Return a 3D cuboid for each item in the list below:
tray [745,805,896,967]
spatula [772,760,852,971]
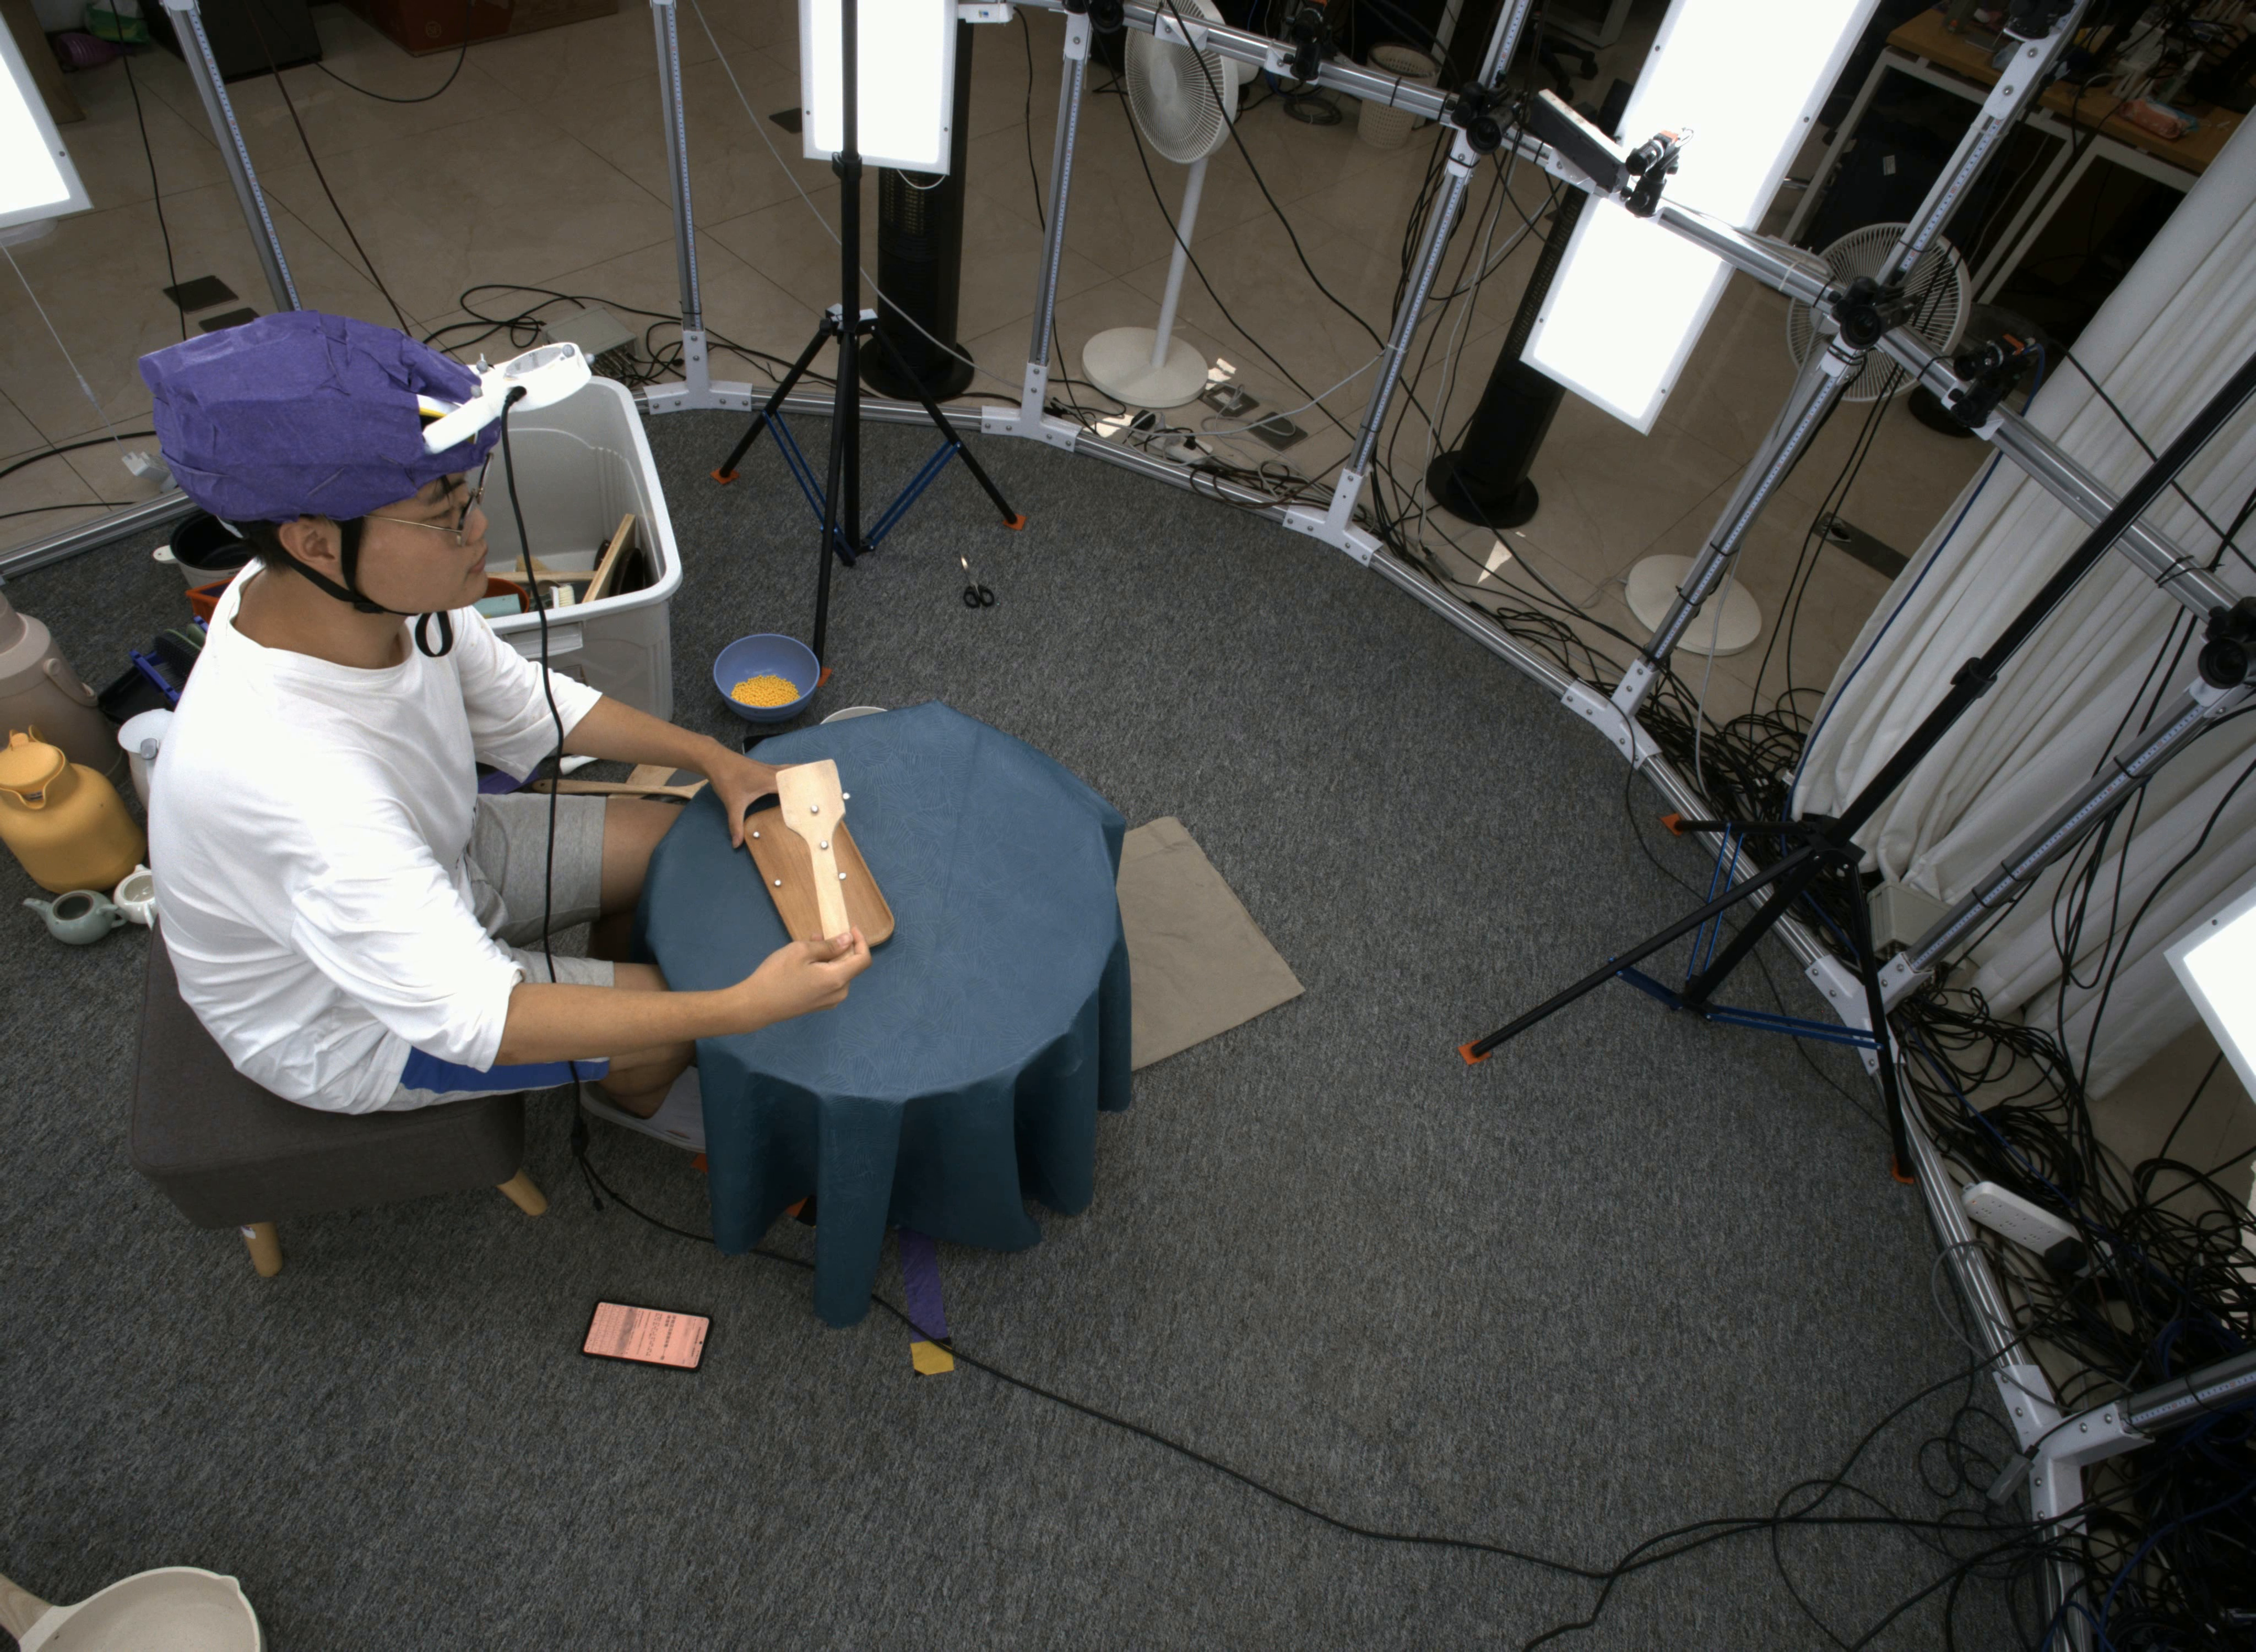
[{"bbox_3d":[-0.400,0.069,1.680,0.131,0.023,0.244,-20,61,-23],"label":"tray"},{"bbox_3d":[-0.335,0.038,1.409,0.072,0.011,0.285,-13,53,-11],"label":"spatula"}]
